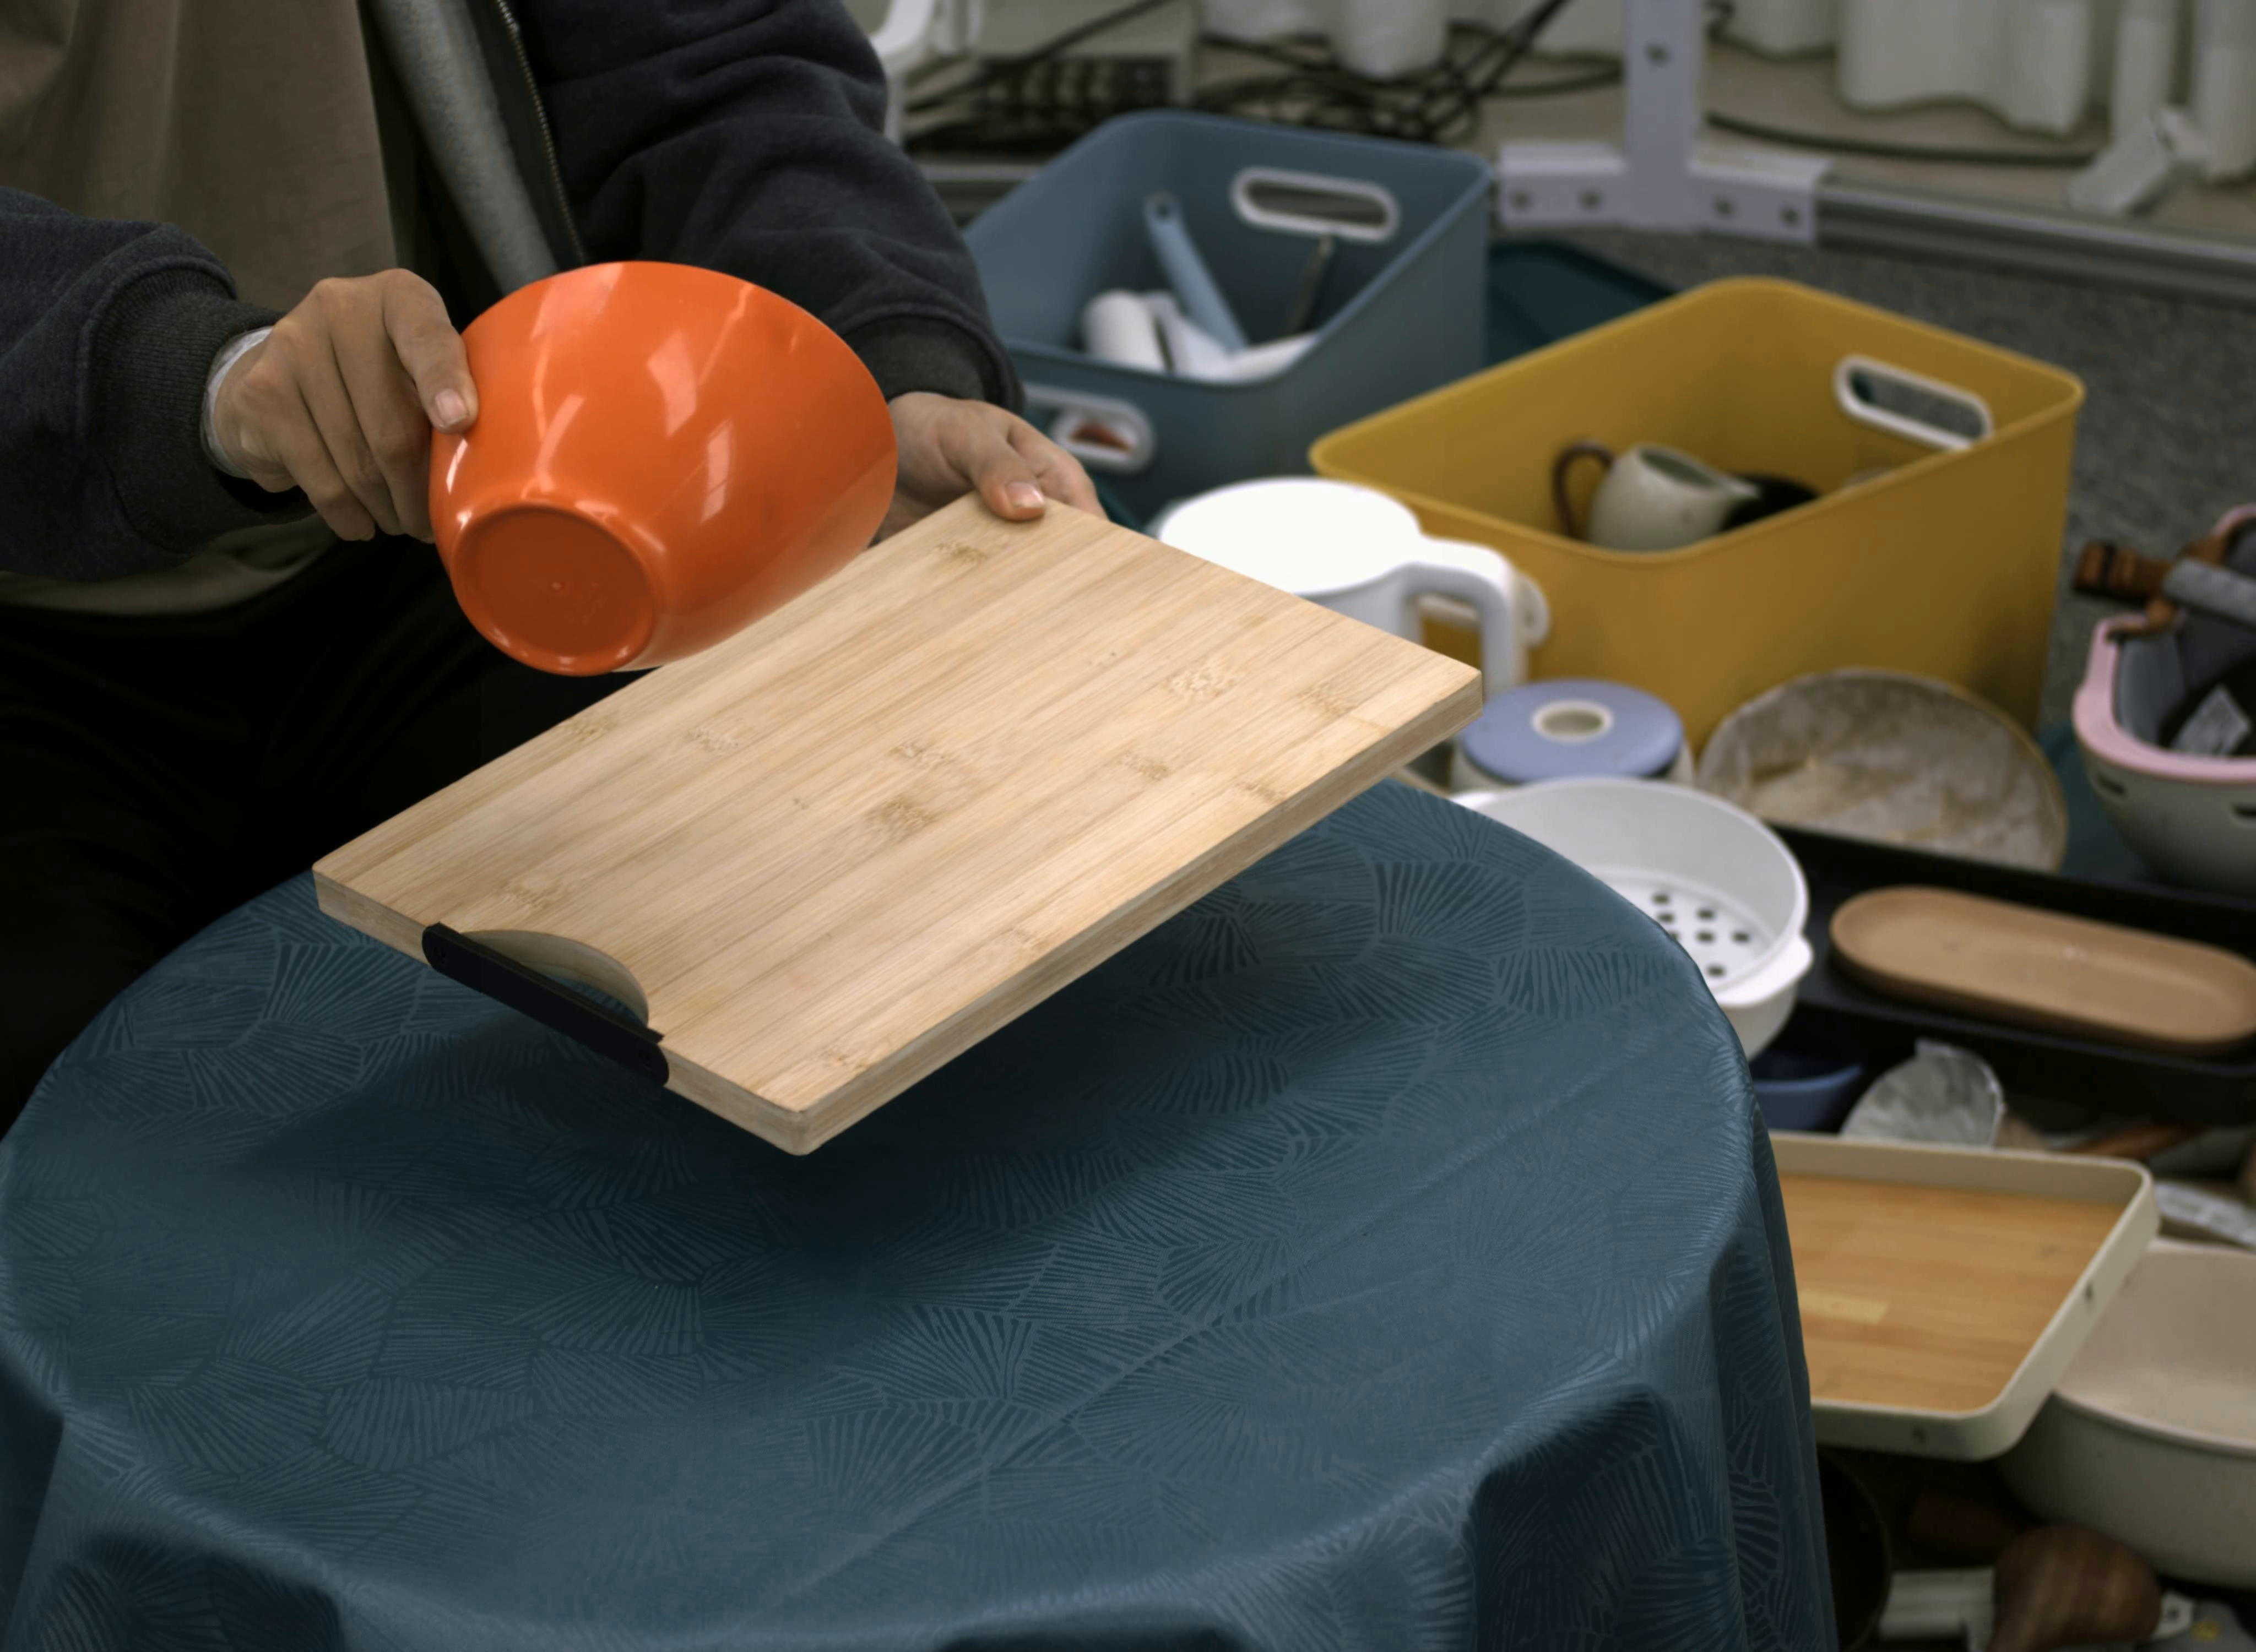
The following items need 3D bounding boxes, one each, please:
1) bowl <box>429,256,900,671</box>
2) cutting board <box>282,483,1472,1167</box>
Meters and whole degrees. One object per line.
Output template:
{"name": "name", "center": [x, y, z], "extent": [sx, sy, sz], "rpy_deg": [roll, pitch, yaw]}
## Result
{"name": "bowl", "center": [-0.156, -0.099, 1.773], "extent": [0.147, 0.146, 0.107], "rpy_deg": [5, 39, 14]}
{"name": "cutting board", "center": [-0.081, -0.009, 1.939], "extent": [0.250, 0.023, 0.353], "rpy_deg": [22, 40, 36]}
